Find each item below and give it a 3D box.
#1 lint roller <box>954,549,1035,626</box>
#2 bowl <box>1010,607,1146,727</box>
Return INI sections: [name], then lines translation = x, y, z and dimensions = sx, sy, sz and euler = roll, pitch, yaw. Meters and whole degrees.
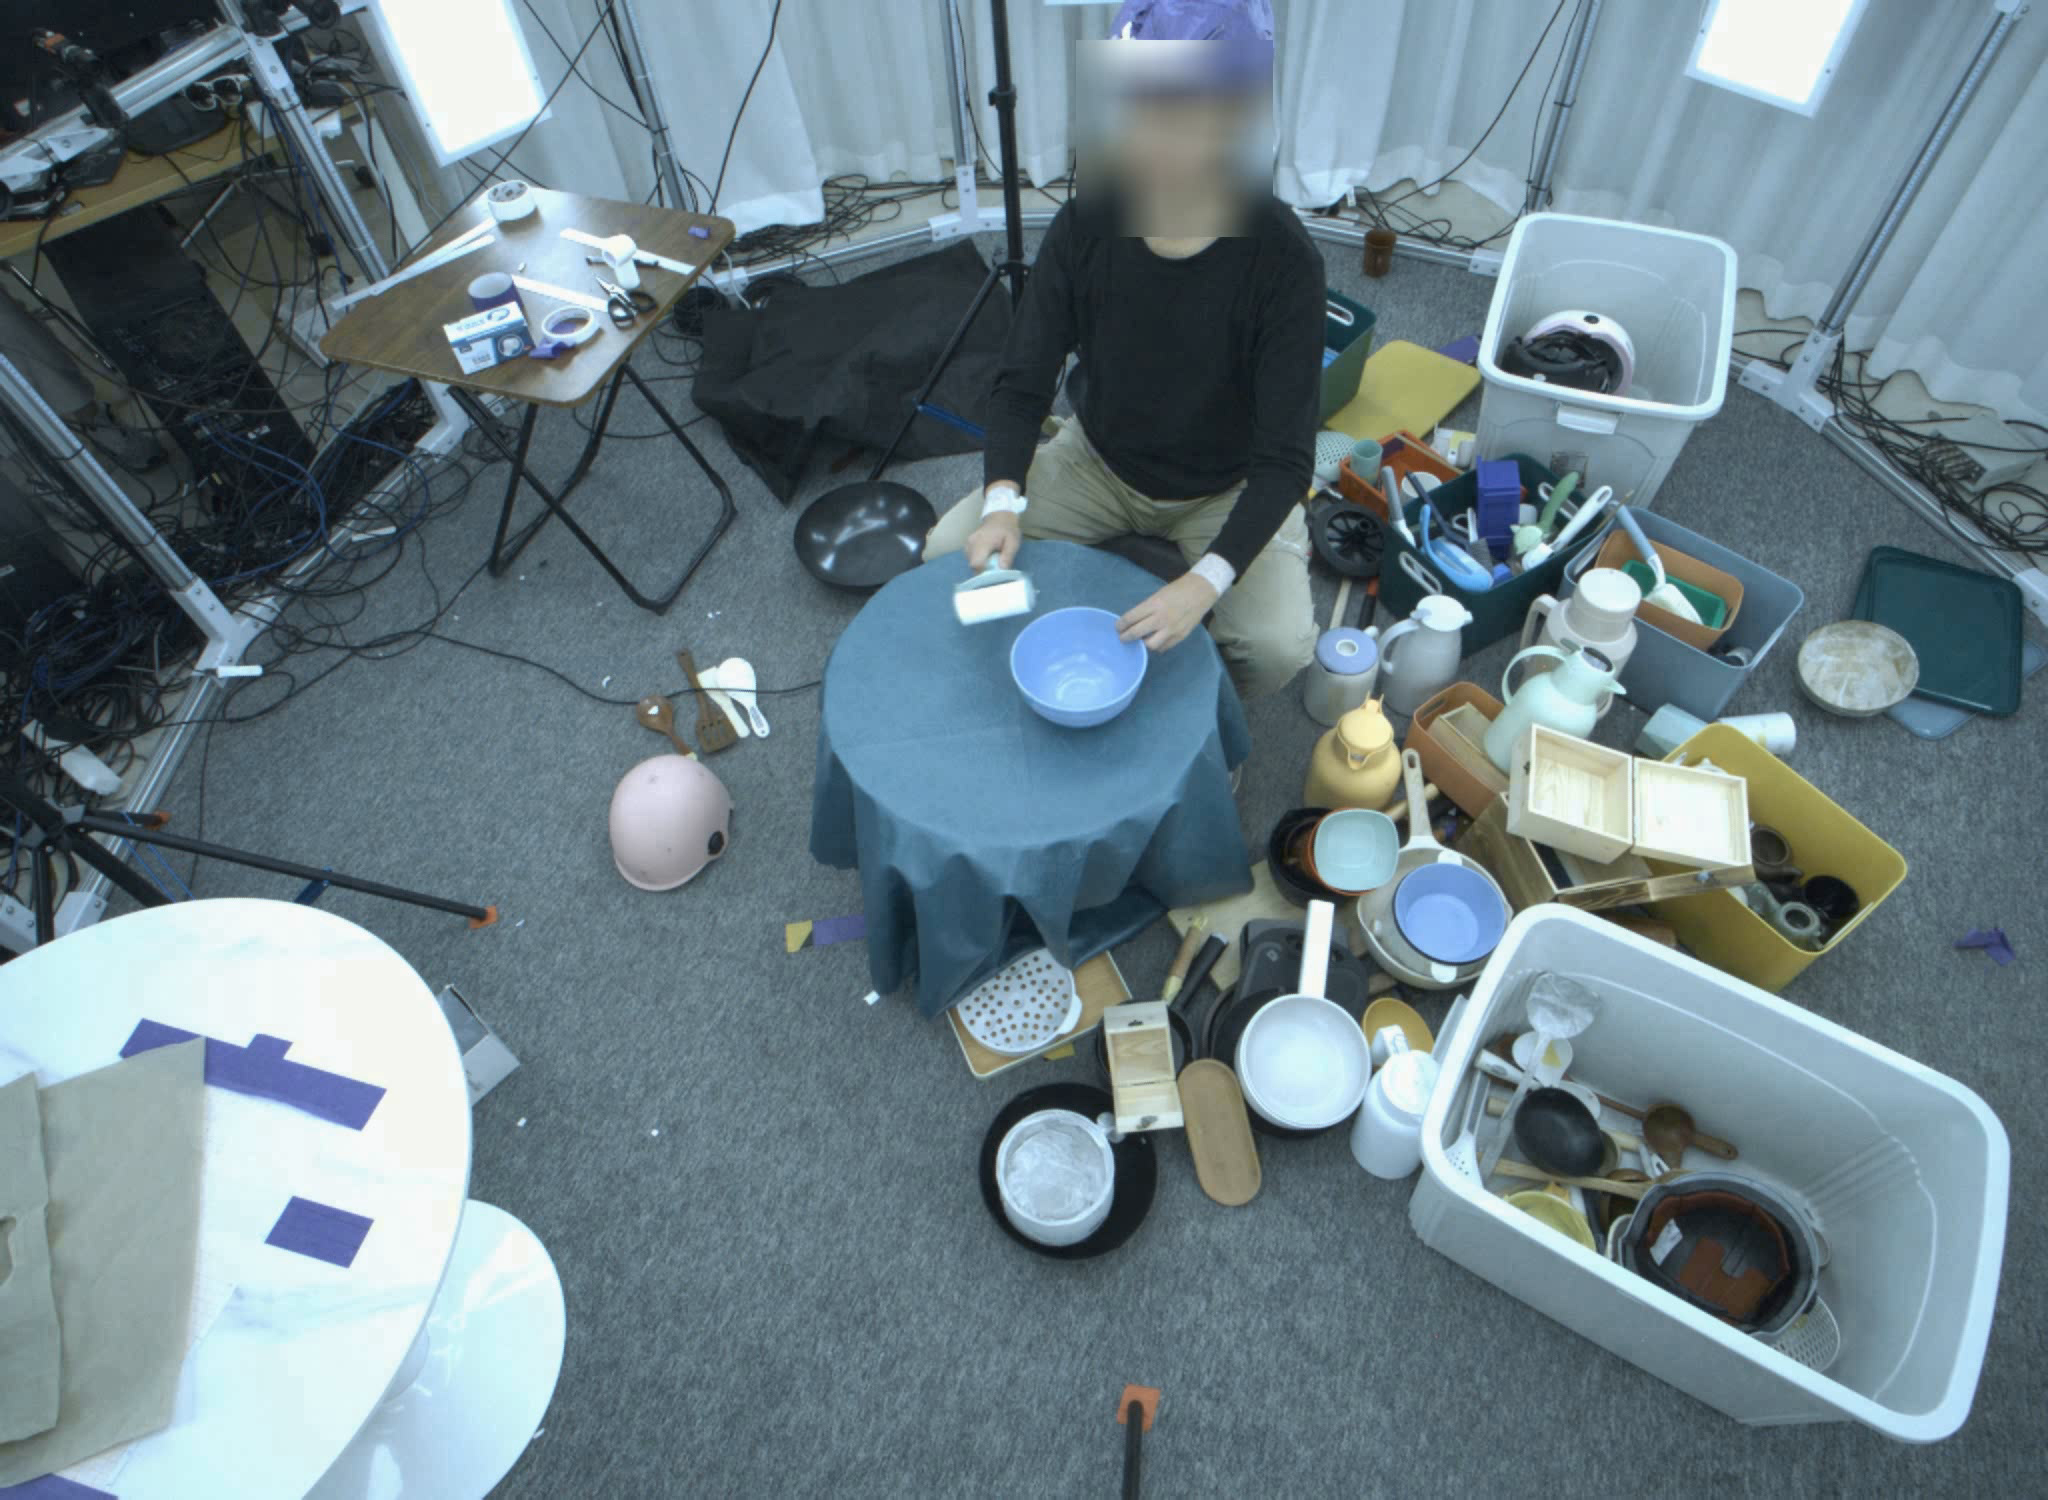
[lint roller]
translation = -0.042, -0.260, 1.835
dimensions = 0.116, 0.049, 0.195
euler = -11, 39, 9
[bowl]
translation = 0.080, -0.107, 1.801
dimensions = 0.196, 0.096, 0.194
euler = -1, 55, 3
